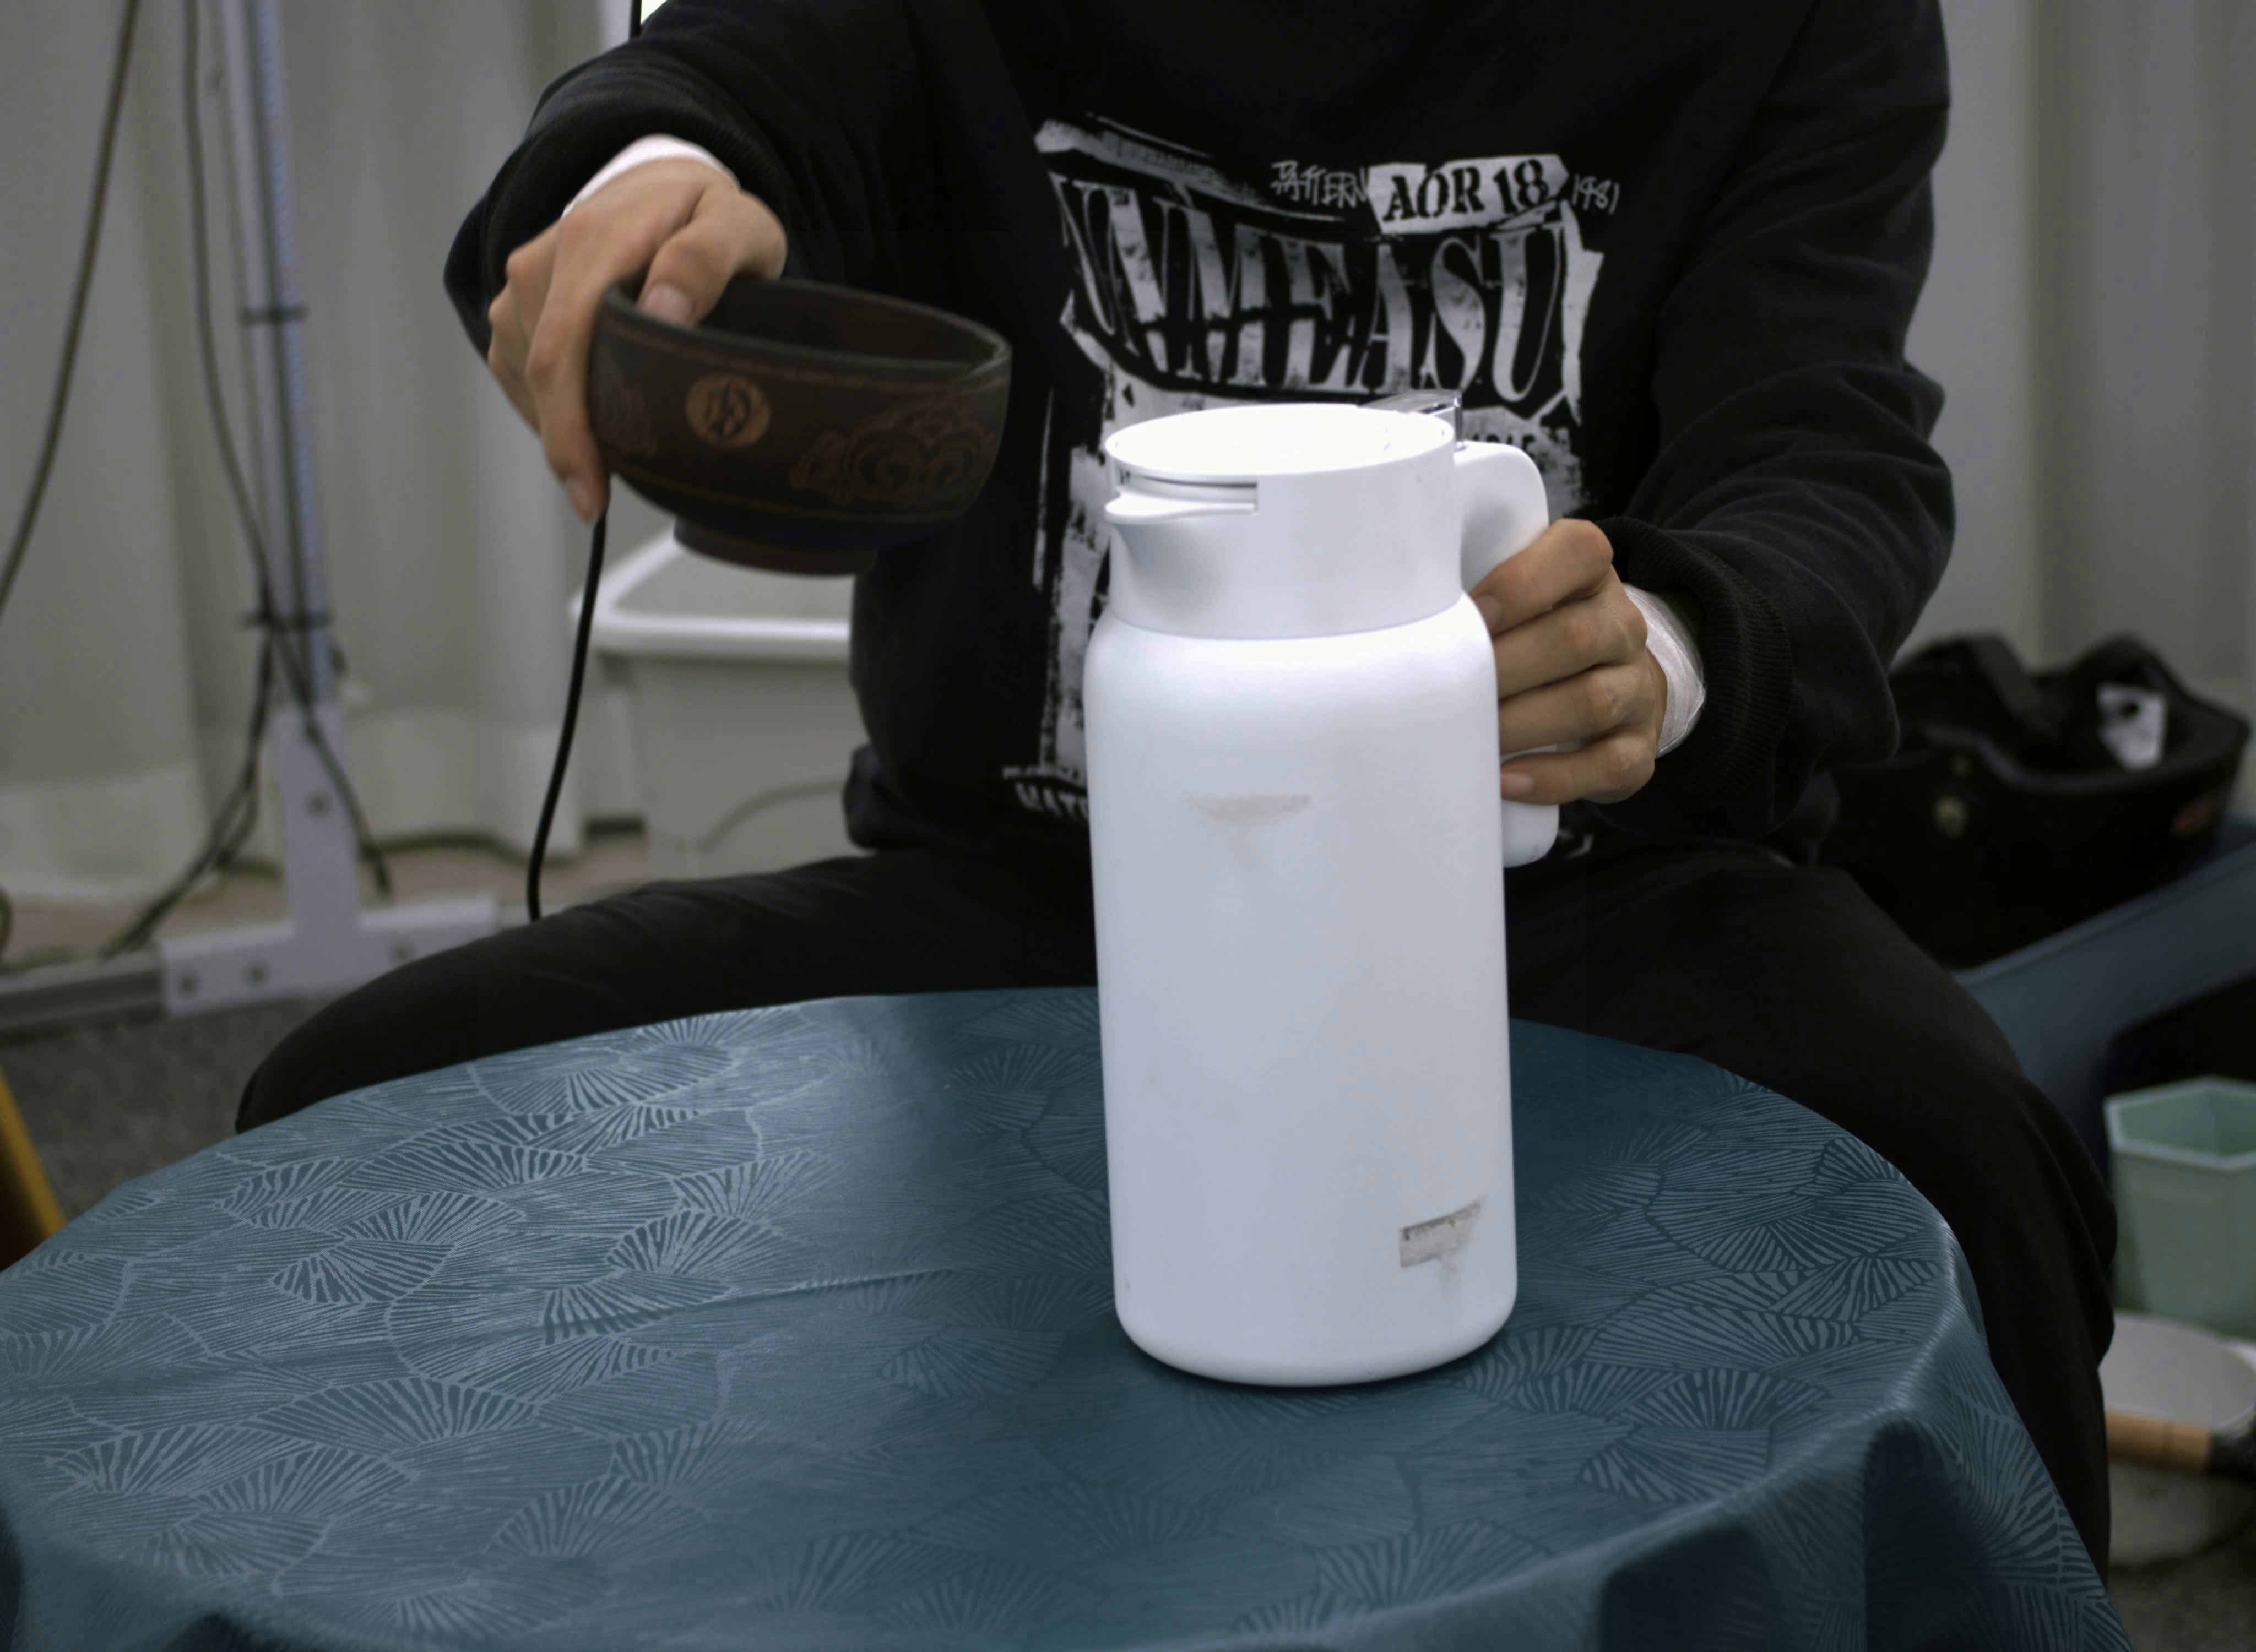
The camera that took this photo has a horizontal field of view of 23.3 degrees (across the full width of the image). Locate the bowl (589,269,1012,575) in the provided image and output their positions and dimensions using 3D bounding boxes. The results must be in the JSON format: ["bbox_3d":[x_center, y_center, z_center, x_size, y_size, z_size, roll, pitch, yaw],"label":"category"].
[{"bbox_3d":[-0.094,-0.111,1.539,0.117,0.069,0.119,9,14,-2],"label":"bowl"}]

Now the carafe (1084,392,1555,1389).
[{"bbox_3d":[0.059,0.014,1.568,0.124,0.268,0.172,6,17,41],"label":"carafe"}]
